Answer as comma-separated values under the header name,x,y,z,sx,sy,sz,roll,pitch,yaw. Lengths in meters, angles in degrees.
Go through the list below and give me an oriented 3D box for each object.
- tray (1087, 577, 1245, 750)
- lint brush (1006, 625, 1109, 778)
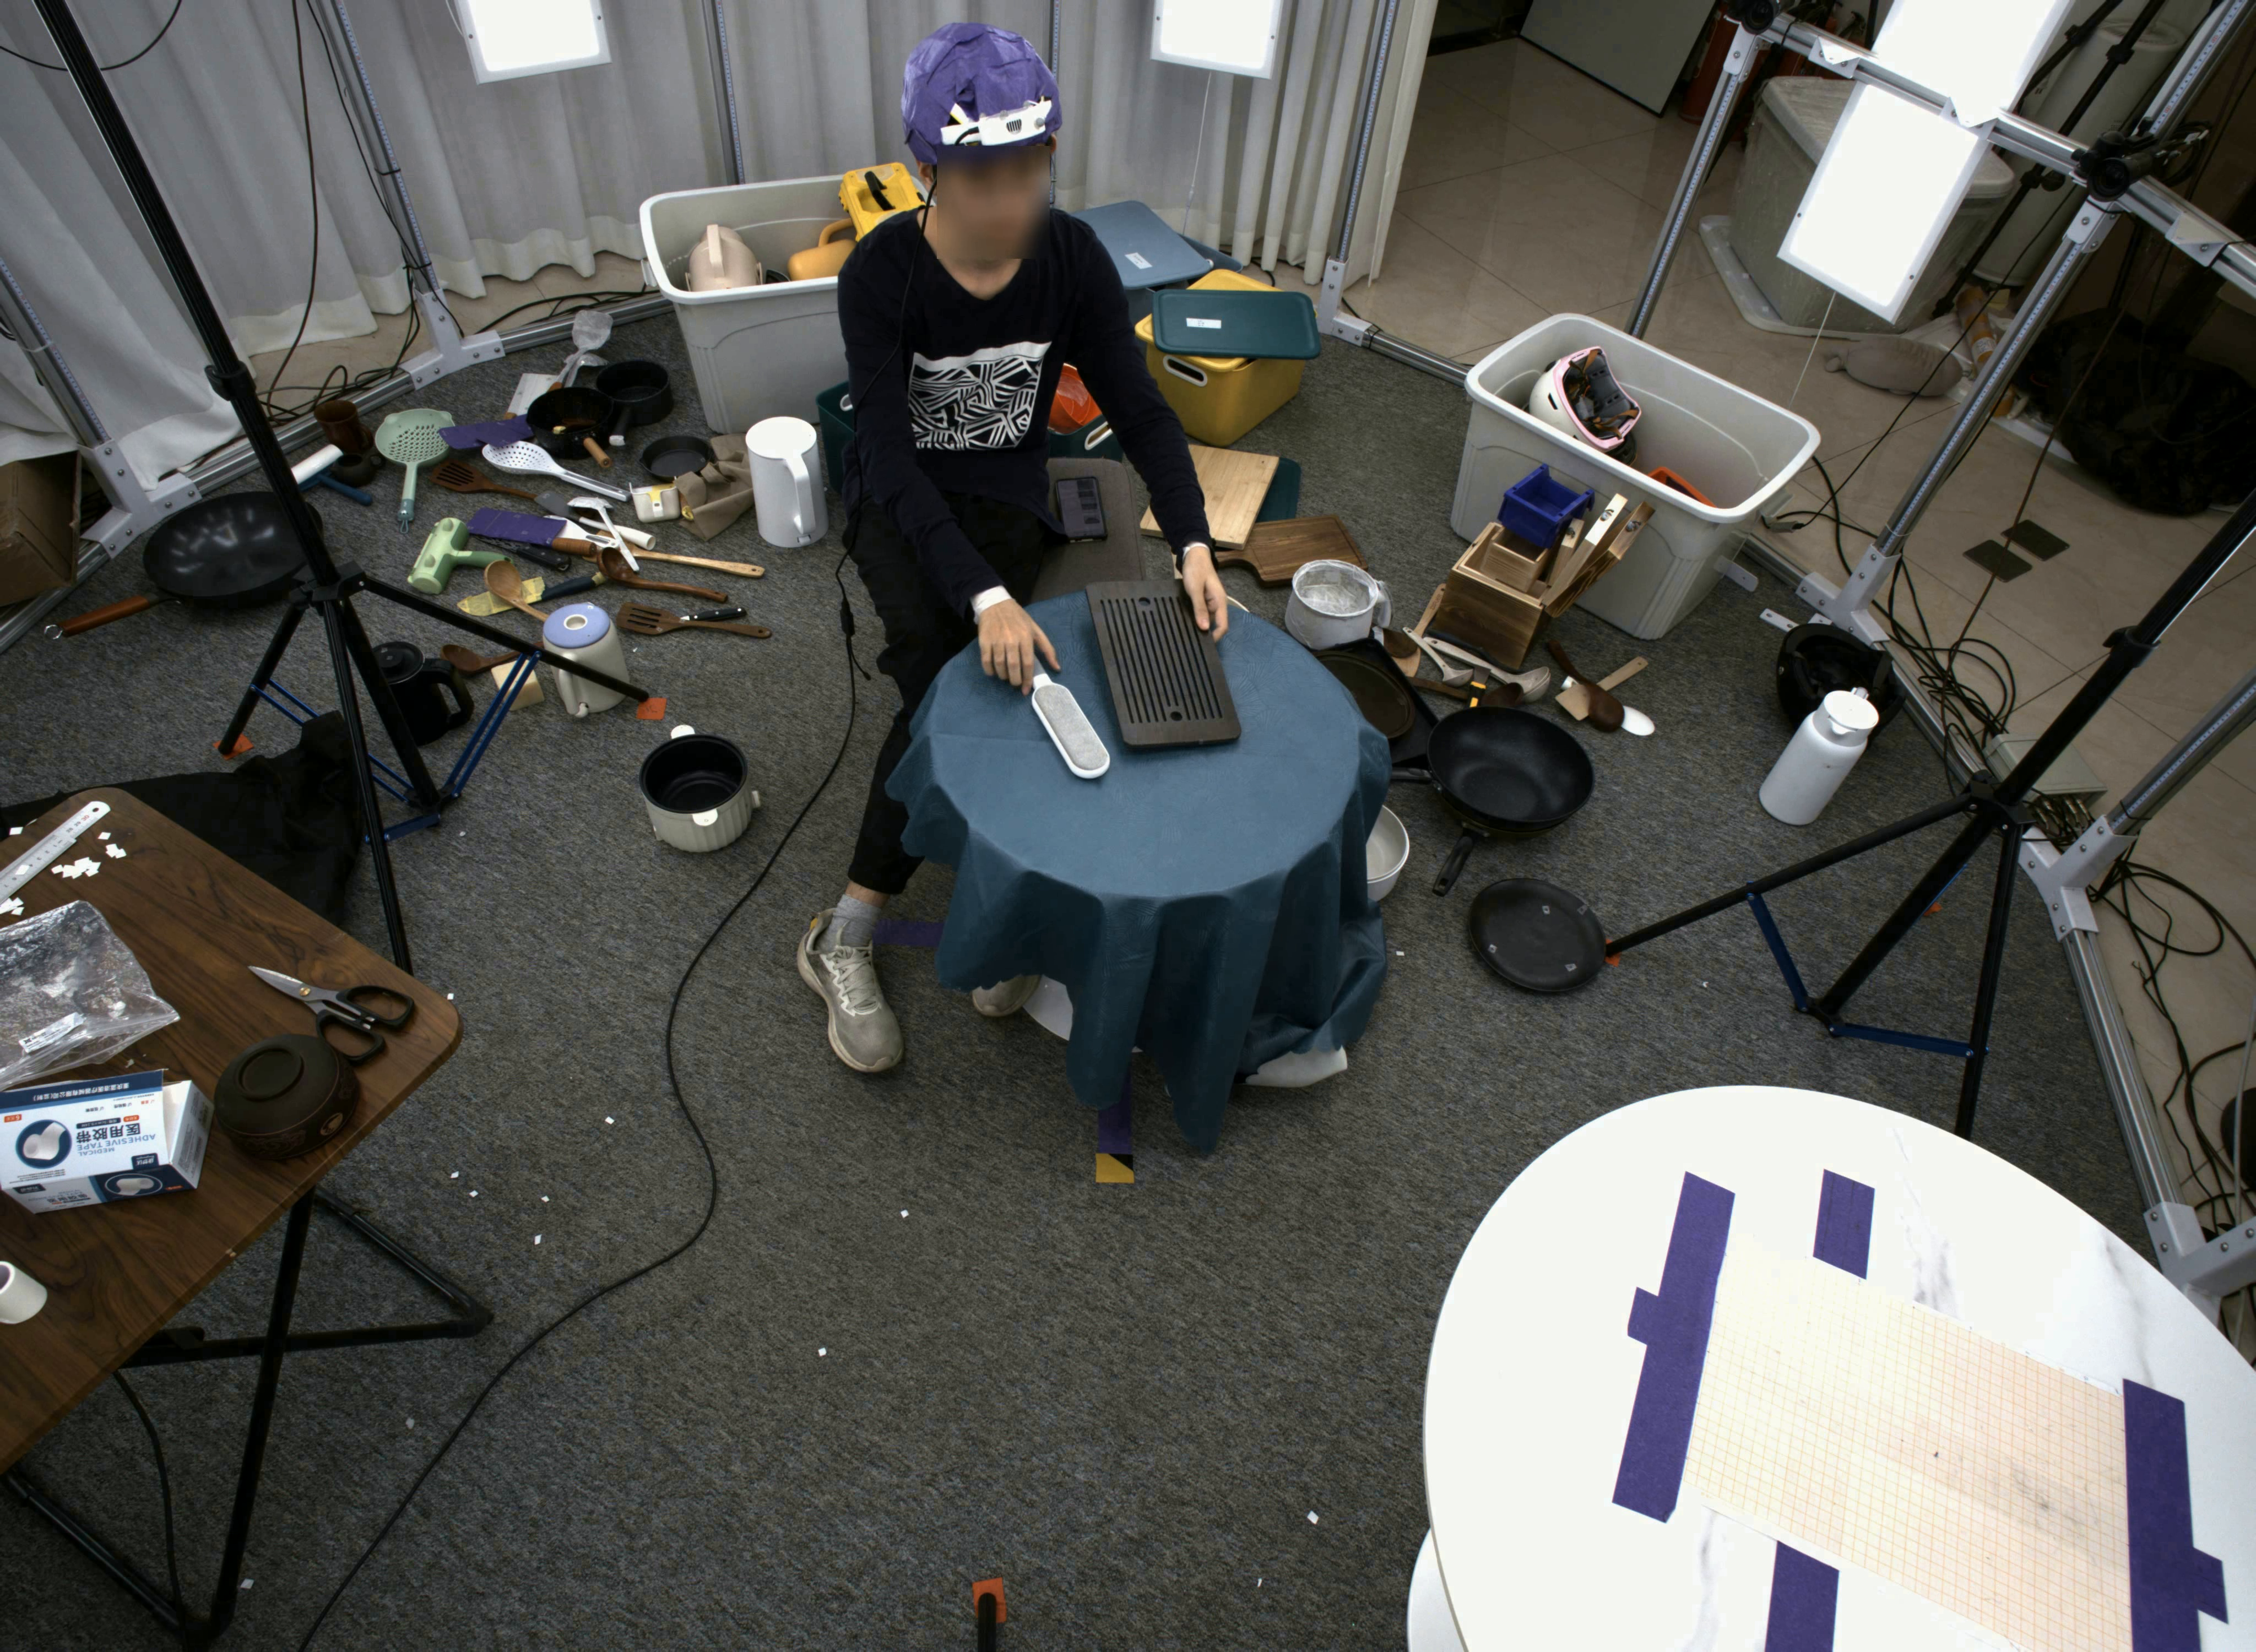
name,x,y,z,sx,sy,sz,roll,pitch,yaw
tray,0.050,-0.237,1.842,0.170,0.018,0.313,-6,56,-12
lint brush,-0.105,-0.180,1.799,0.060,0.020,0.316,-20,53,-14
